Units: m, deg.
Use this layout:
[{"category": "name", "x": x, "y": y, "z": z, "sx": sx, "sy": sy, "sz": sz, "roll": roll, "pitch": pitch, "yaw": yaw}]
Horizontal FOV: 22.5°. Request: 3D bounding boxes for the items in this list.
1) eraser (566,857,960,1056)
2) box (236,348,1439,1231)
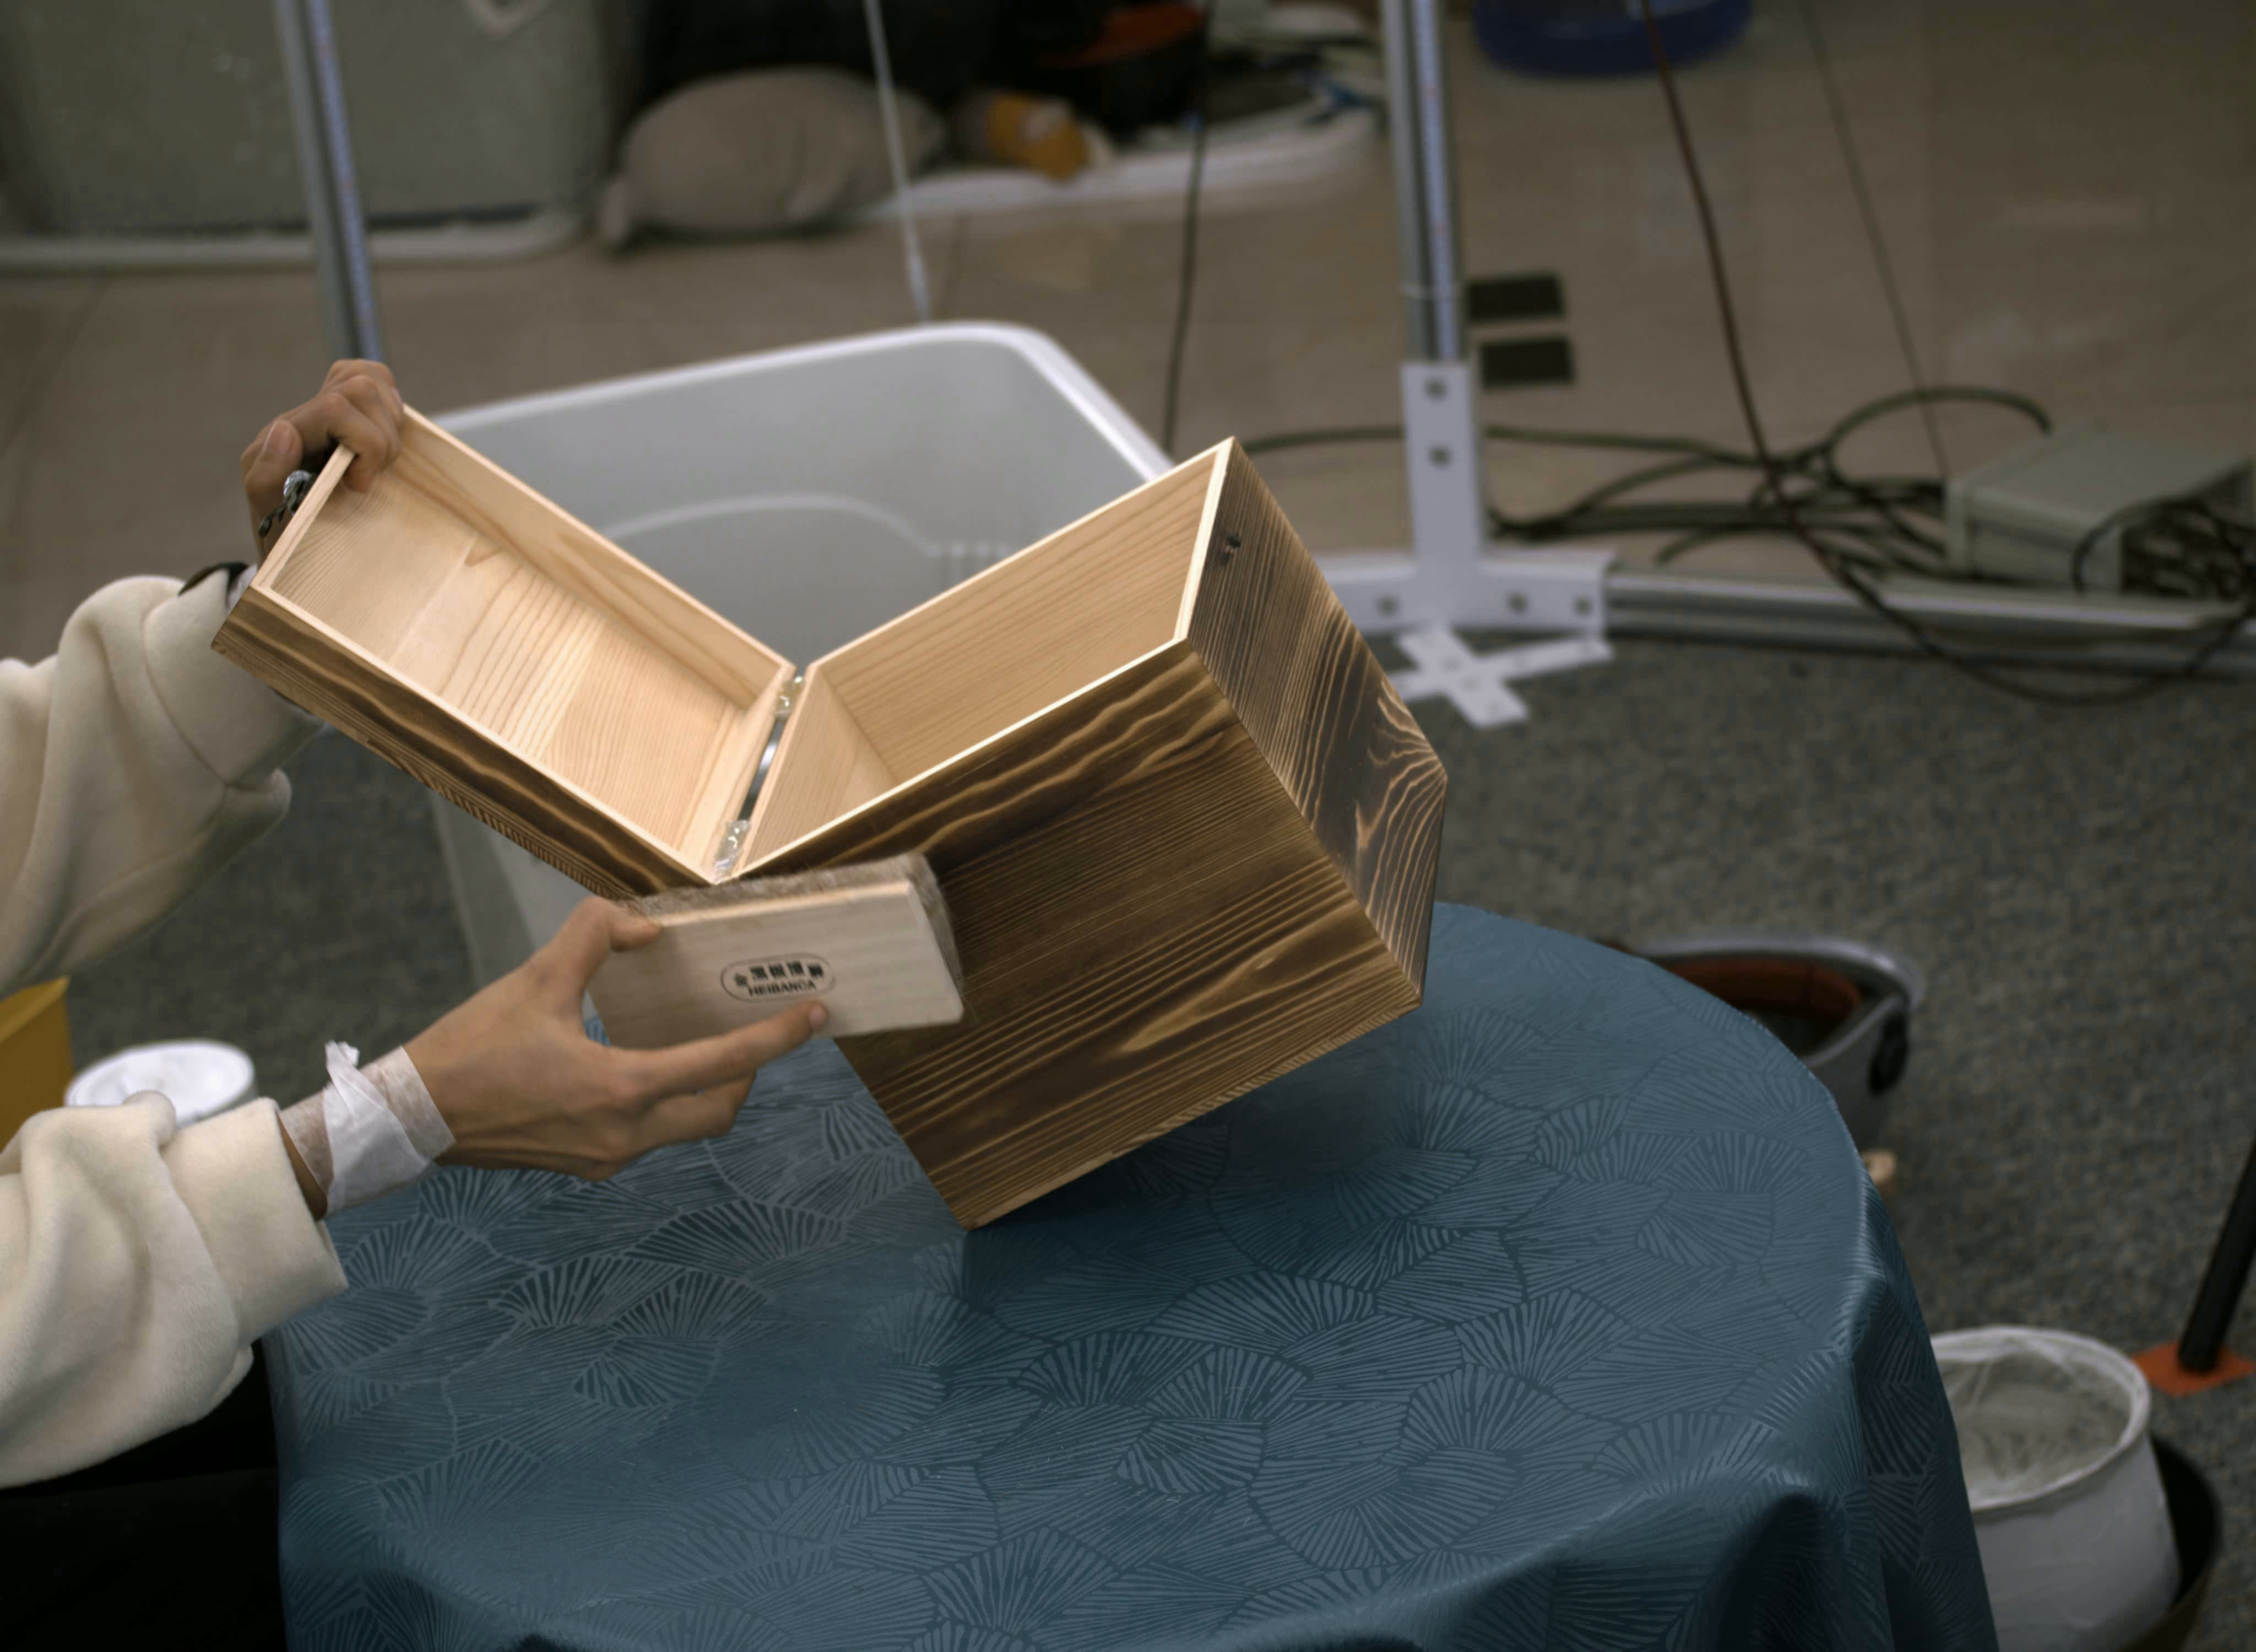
[{"category": "eraser", "x": -0.129, "y": 0.047, "z": 2.047, "sx": 0.139, "sy": 0.058, "sz": 0.028, "roll": -7, "pitch": 31, "yaw": 25}, {"category": "box", "x": -0.103, "y": -0.053, "z": 2.140, "sx": 0.323, "sy": 0.379, "sz": 0.205, "roll": -27, "pitch": 22, "yaw": 17}]
